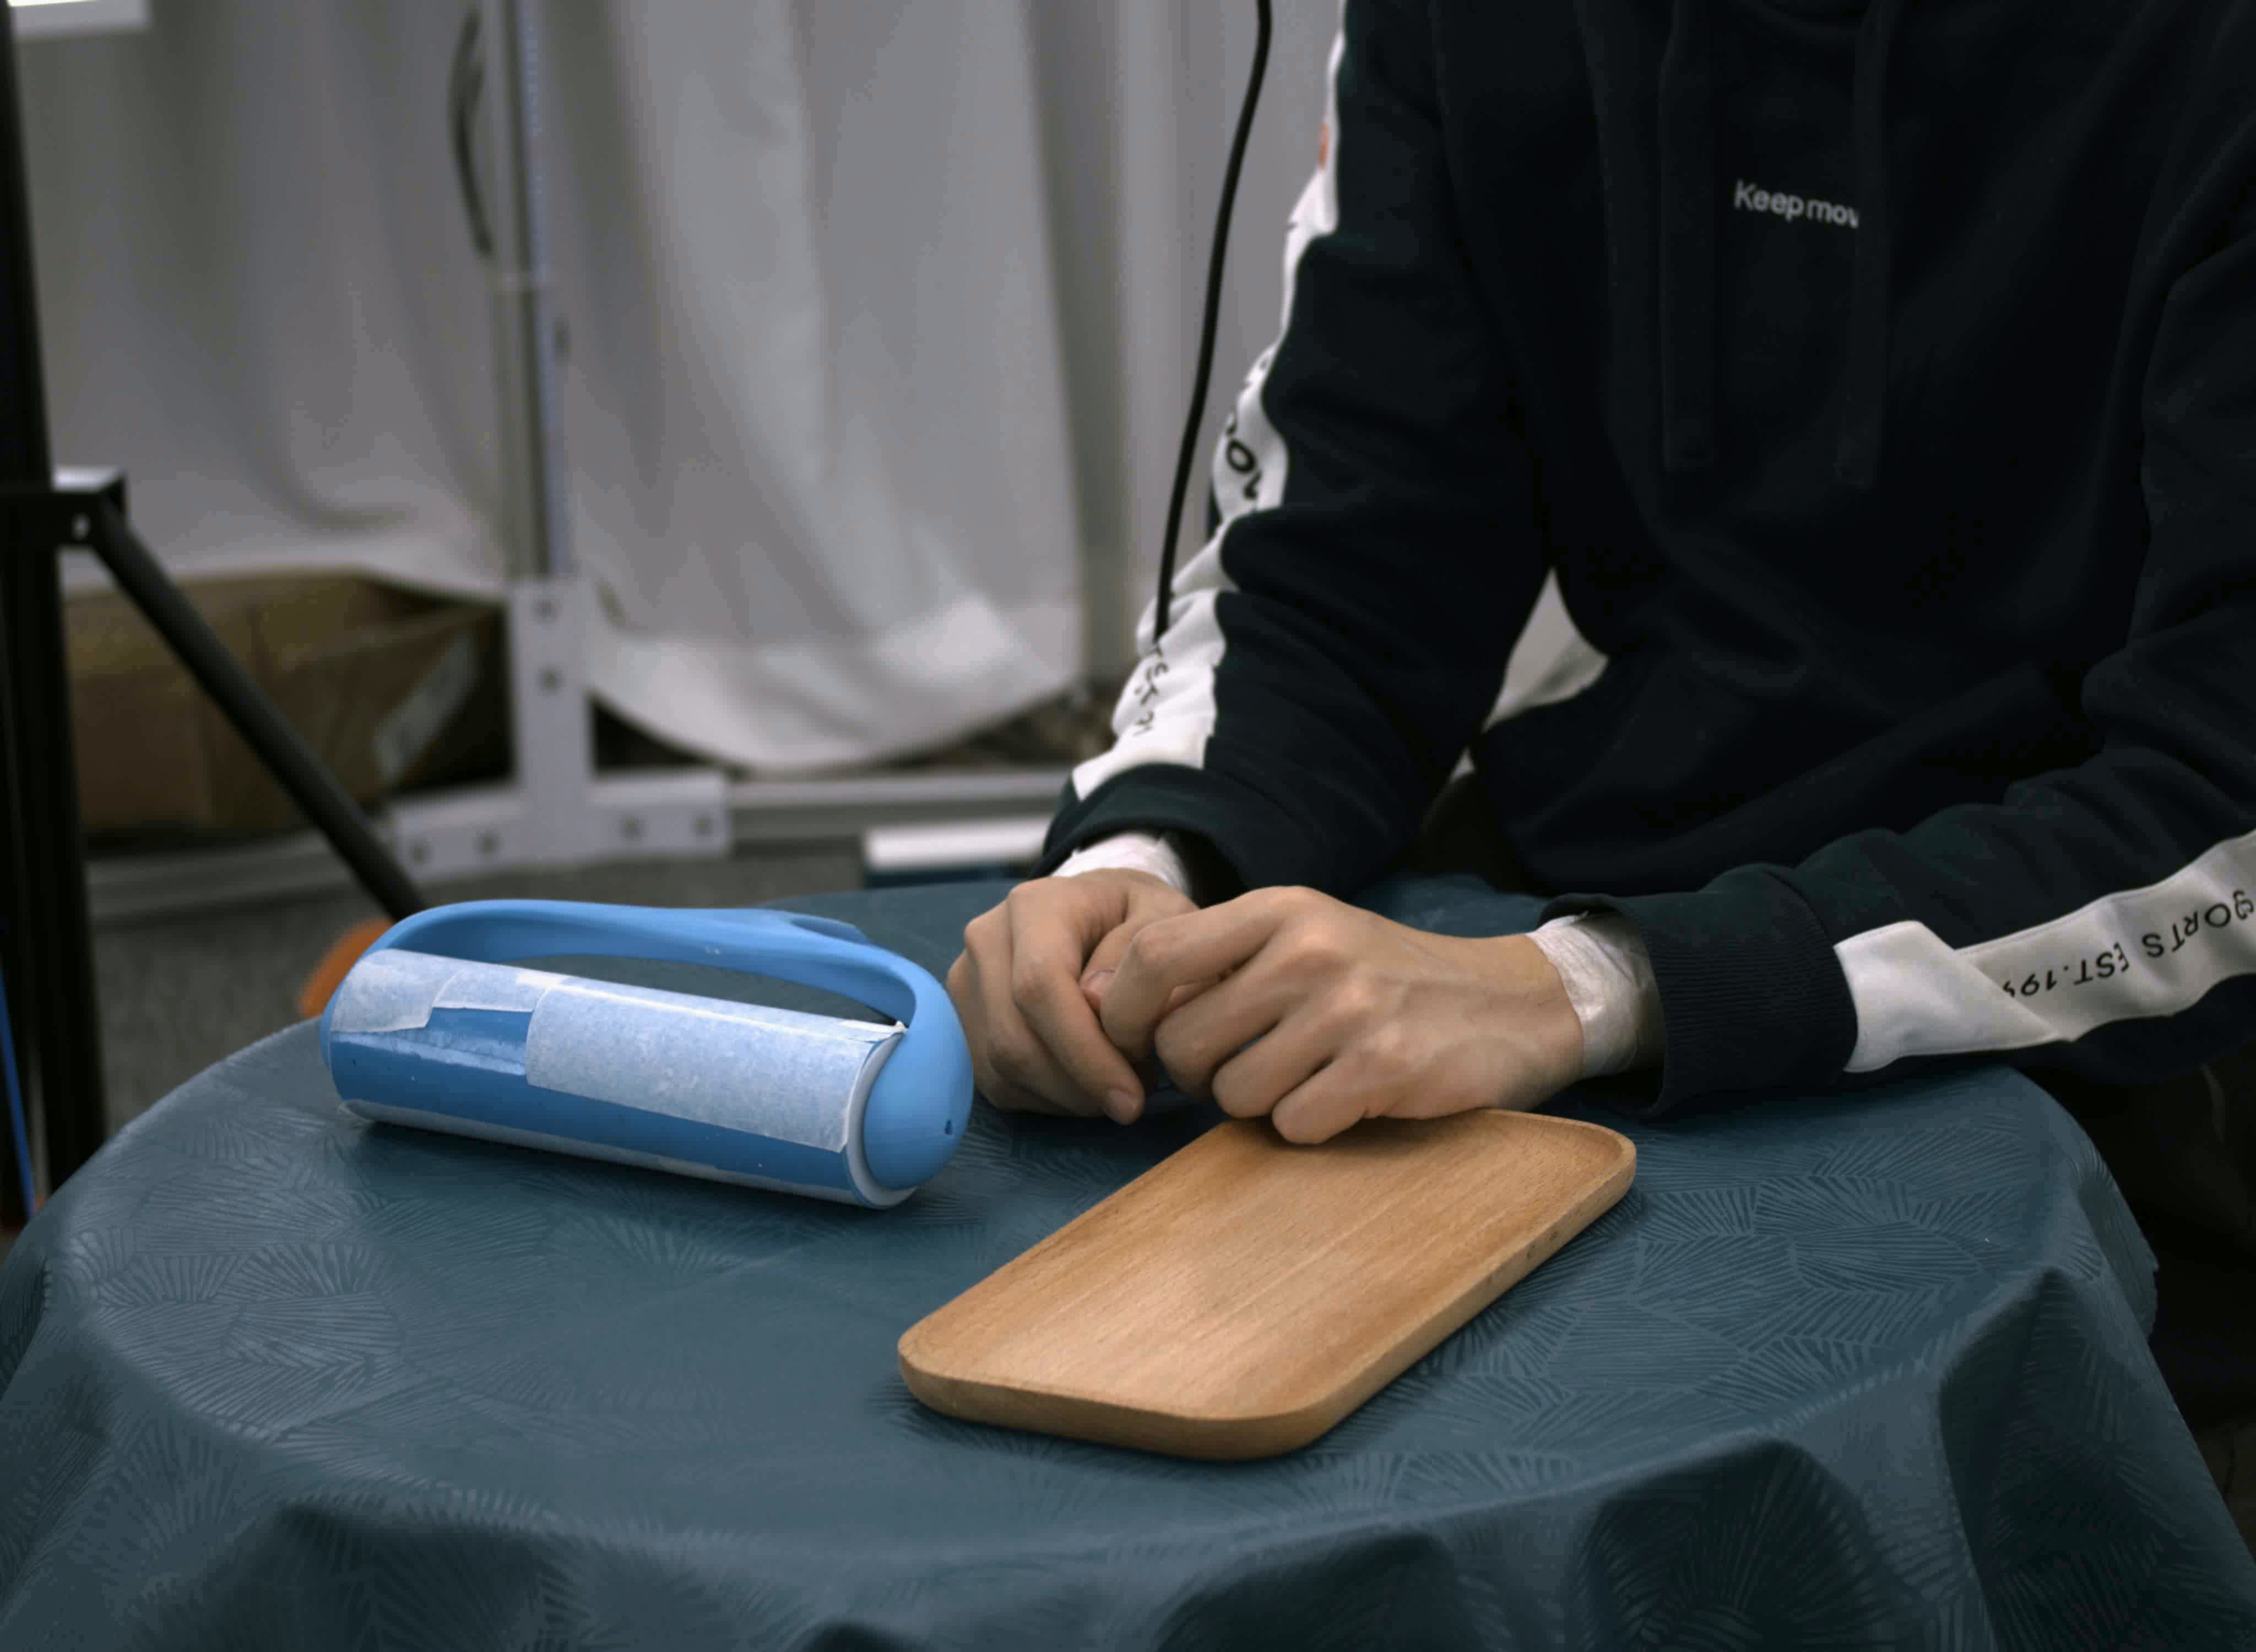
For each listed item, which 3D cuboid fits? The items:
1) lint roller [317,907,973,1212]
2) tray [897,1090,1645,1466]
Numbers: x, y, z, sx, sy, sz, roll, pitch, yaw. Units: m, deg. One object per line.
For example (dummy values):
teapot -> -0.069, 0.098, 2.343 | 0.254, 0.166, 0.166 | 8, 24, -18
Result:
lint roller -> -0.121, 0.059, 1.648 | 0.233, 0.068, 0.177 | 5, 18, 30
tray -> 0.044, 0.122, 1.470 | 0.133, 0.023, 0.246 | 9, 19, 29
